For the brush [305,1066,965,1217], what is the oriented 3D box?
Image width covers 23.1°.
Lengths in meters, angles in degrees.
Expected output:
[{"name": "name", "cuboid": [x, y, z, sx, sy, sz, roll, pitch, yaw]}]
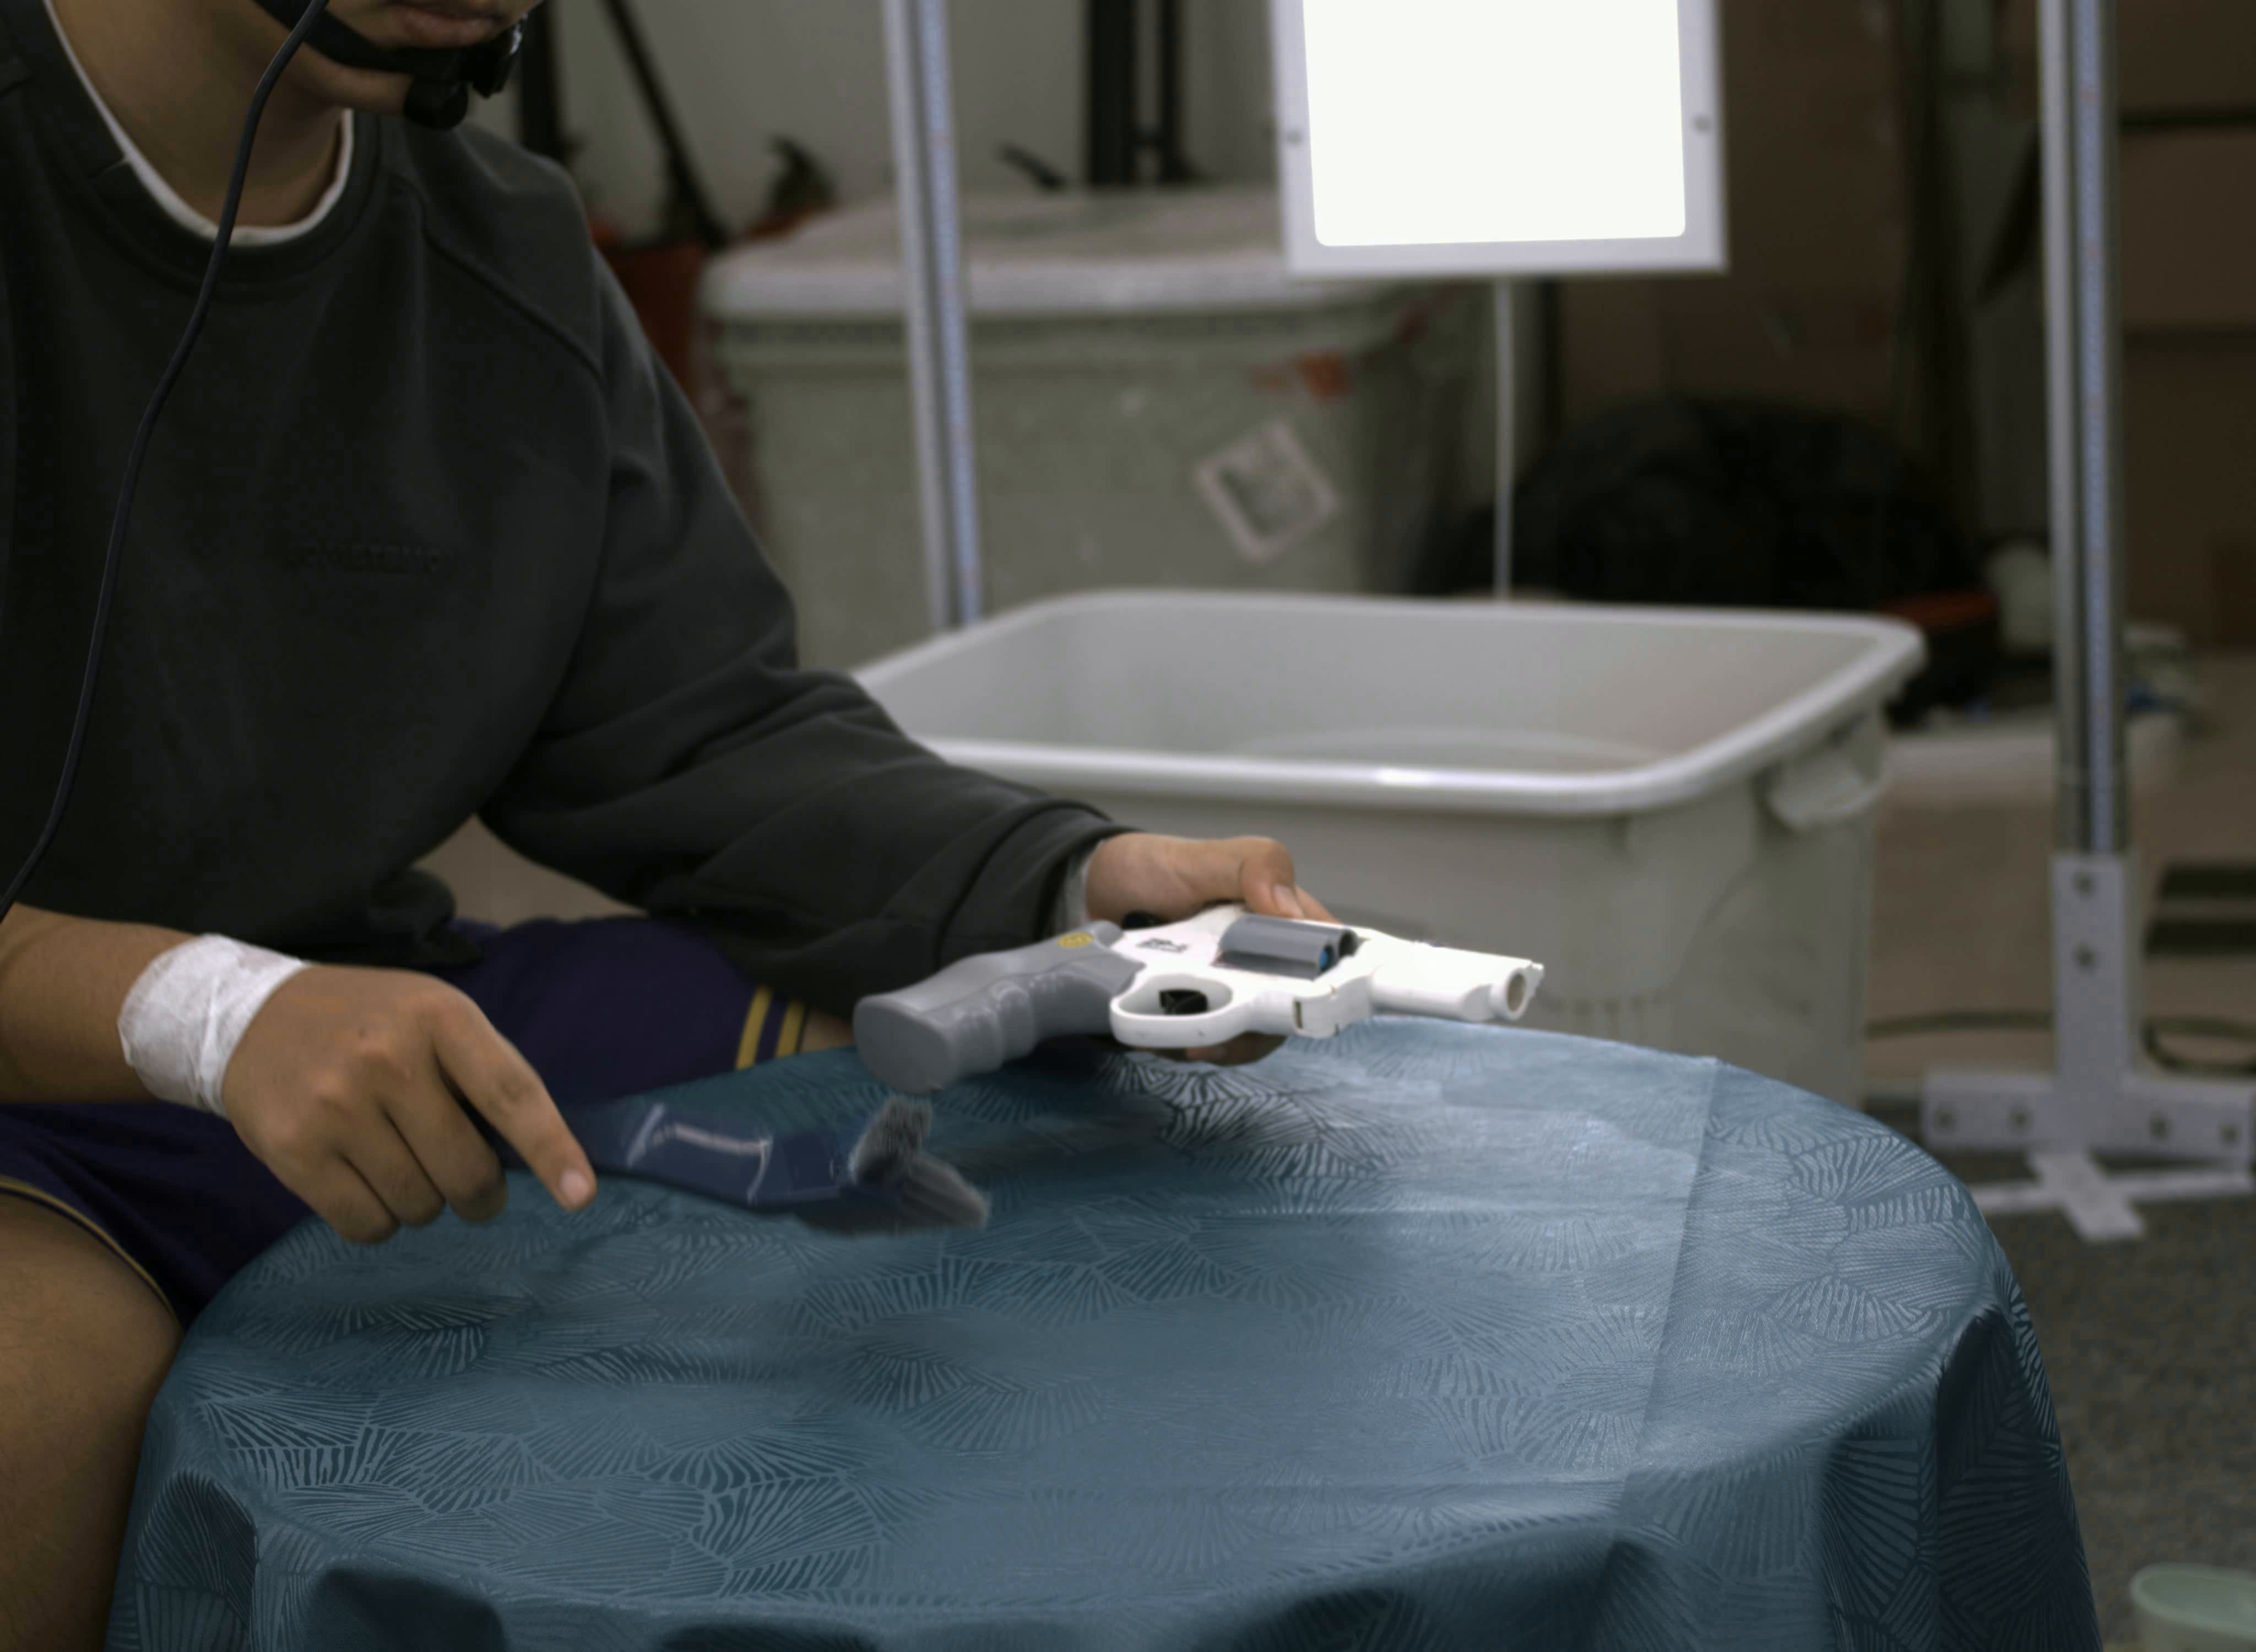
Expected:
[{"name": "brush", "cuboid": [-0.171, 0.095, 1.778, 0.278, 0.033, 0.094, 5, -23, 32]}]

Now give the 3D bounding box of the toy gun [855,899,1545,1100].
[{"name": "toy gun", "cuboid": [0.024, 0.061, 1.906, 0.213, 0.039, 0.138, 6, 24, 35]}]
